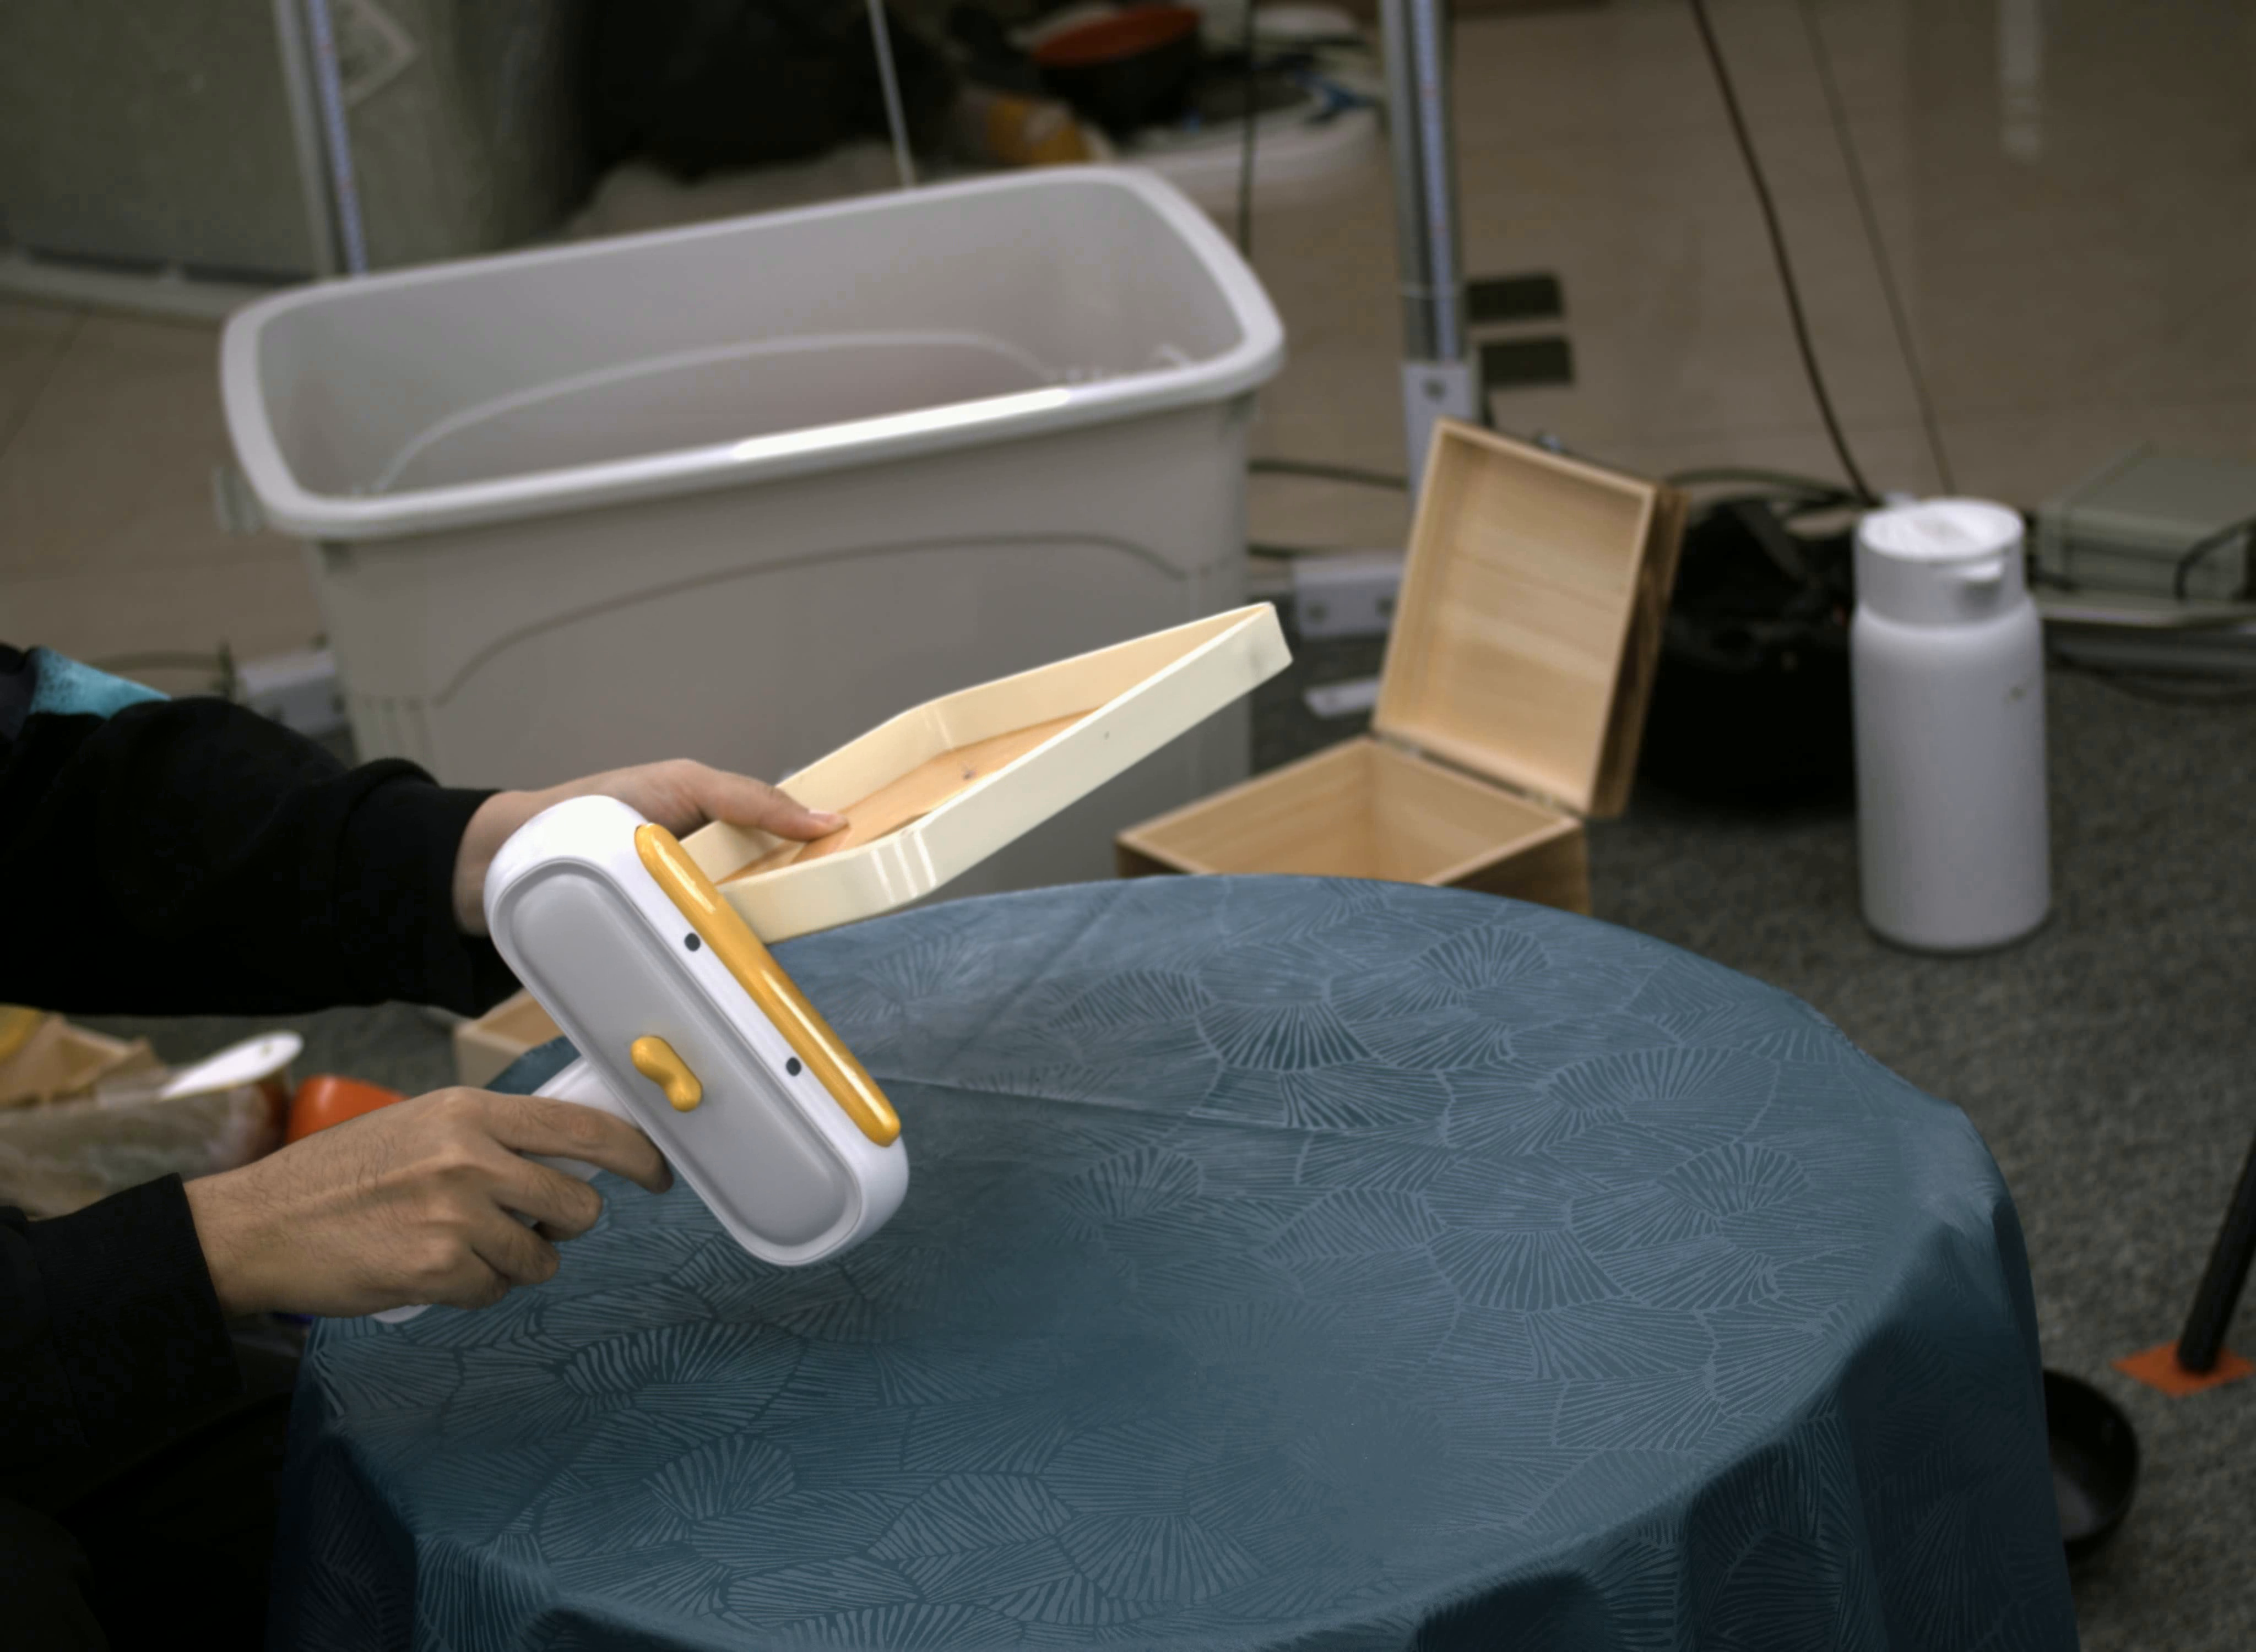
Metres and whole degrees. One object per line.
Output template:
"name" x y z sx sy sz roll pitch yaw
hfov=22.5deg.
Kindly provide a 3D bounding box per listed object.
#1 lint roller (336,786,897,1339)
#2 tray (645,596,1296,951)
"lint roller" -0.204 0.109 2.022 0.193 0.194 0.073 -39 17 15
"tray" -0.079 -0.012 2.148 0.192 0.027 0.297 -16 10 35
